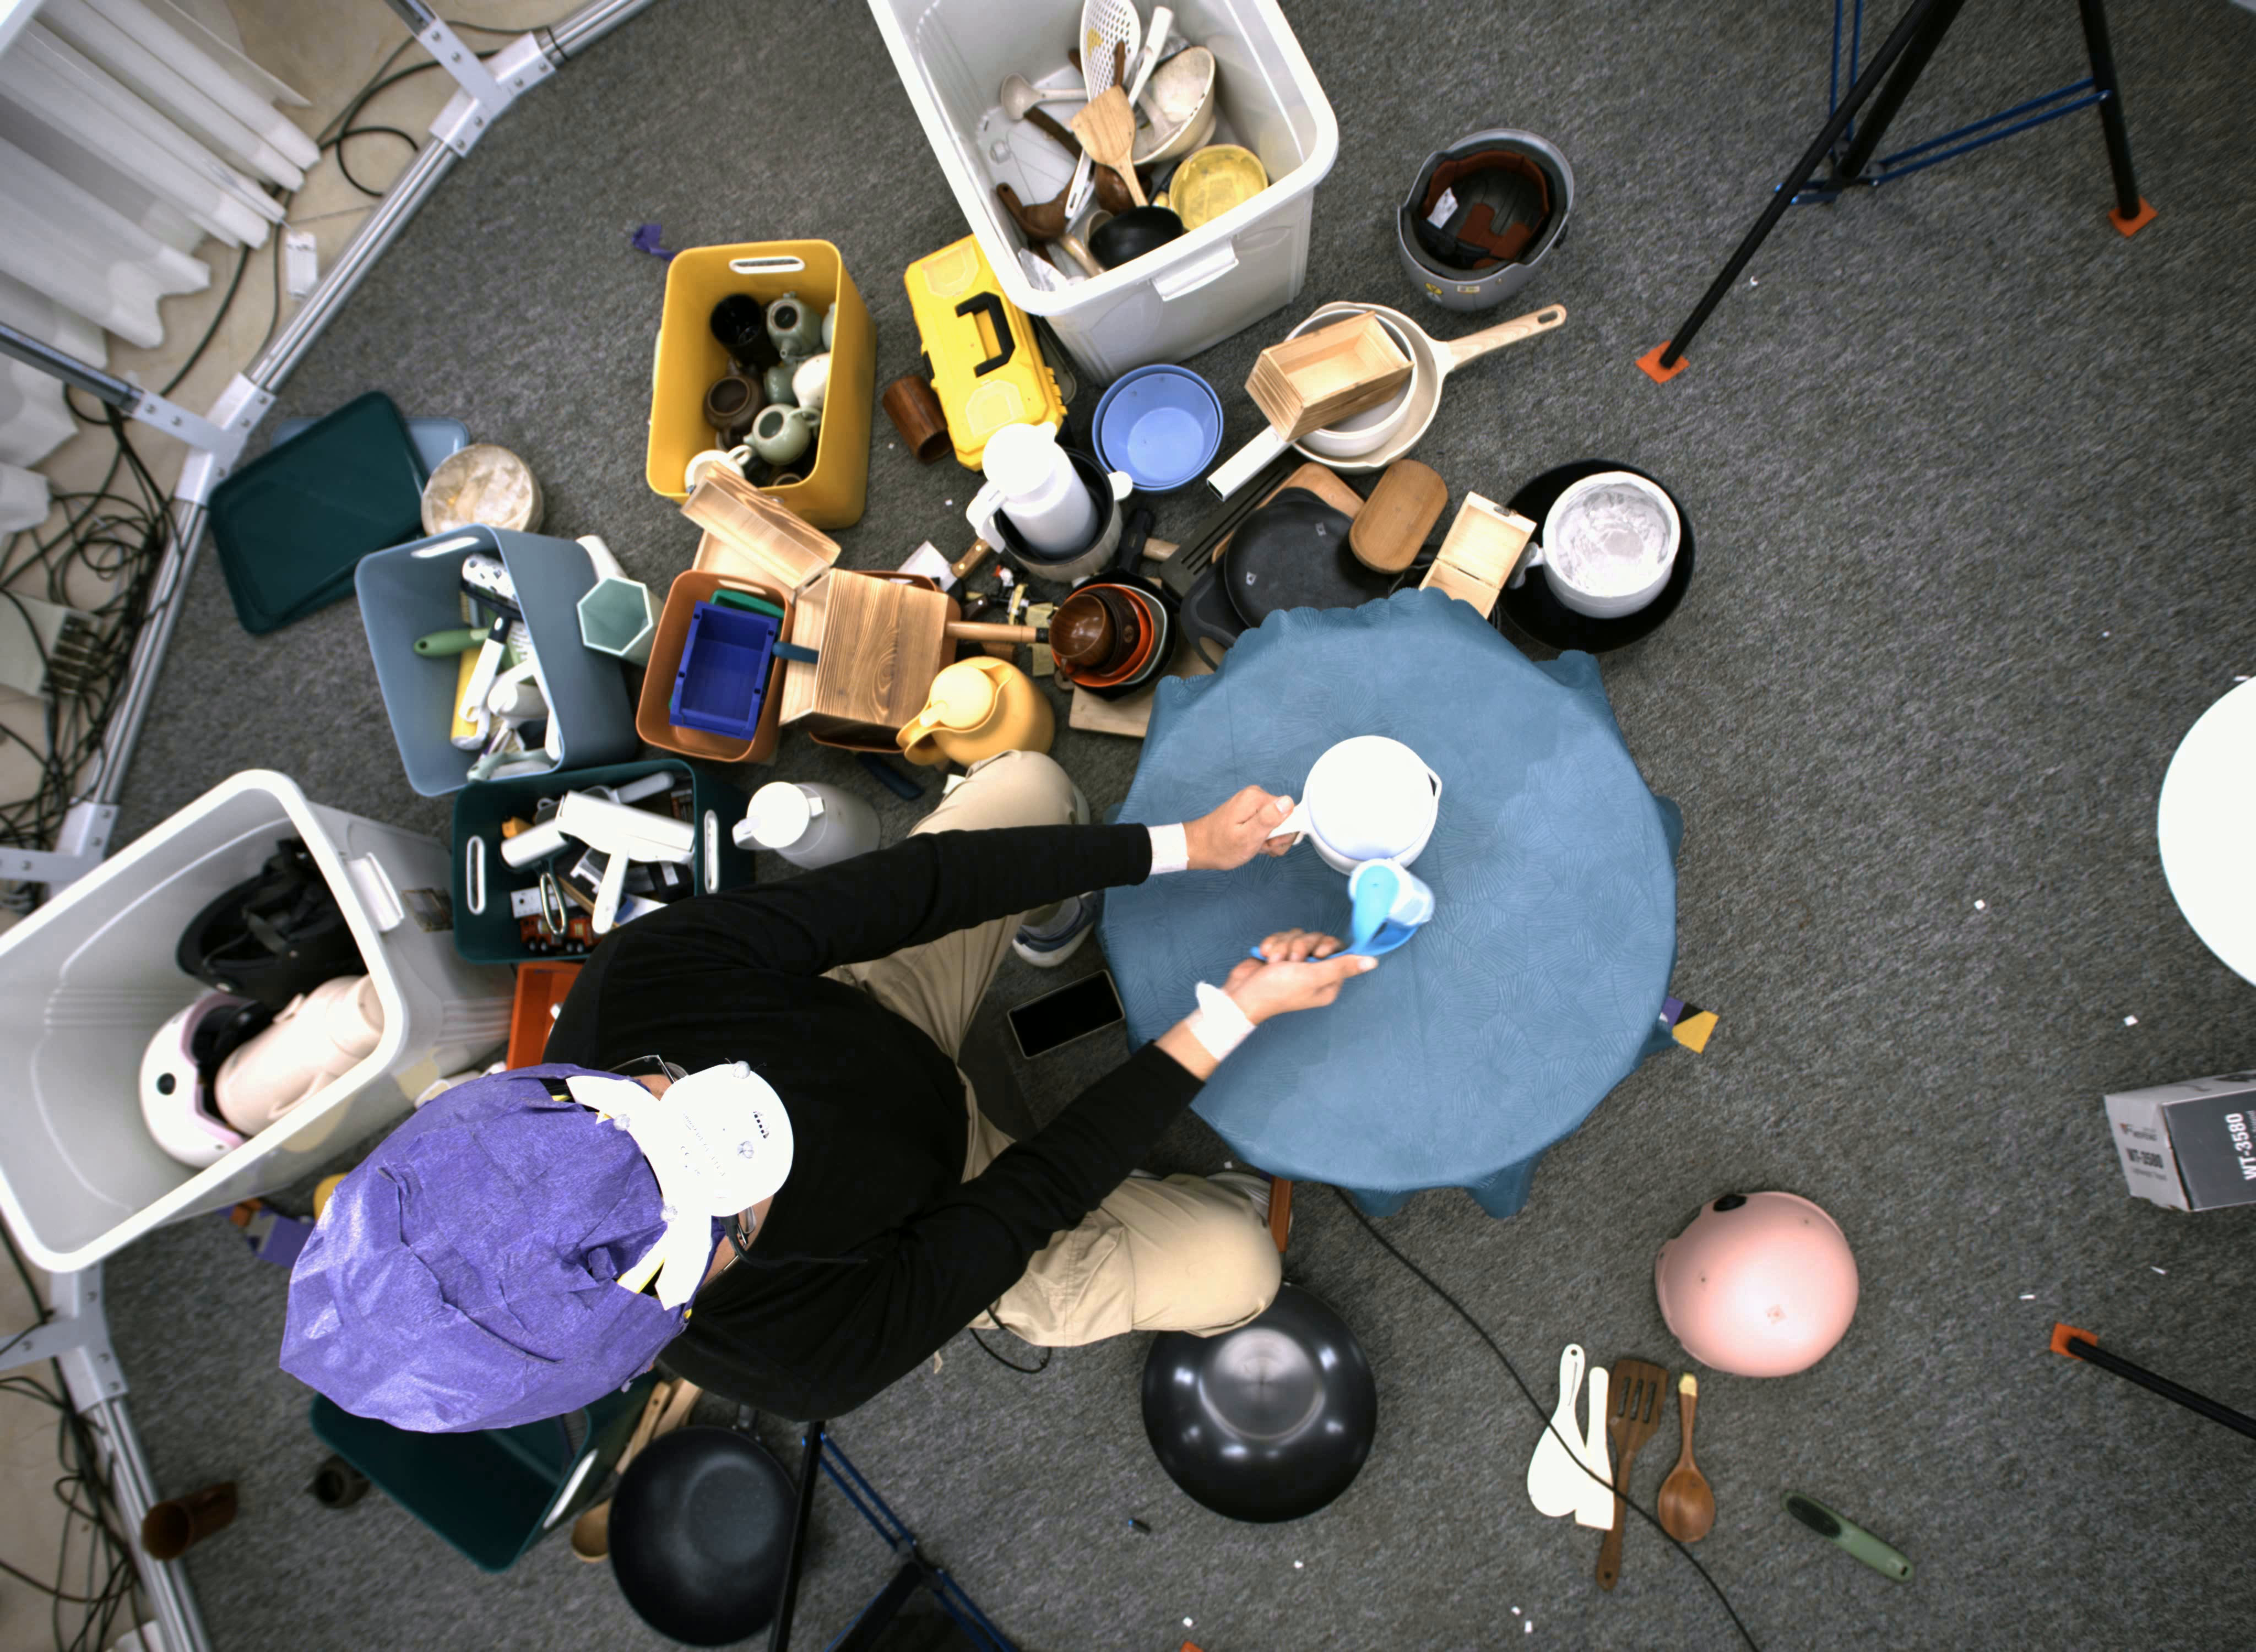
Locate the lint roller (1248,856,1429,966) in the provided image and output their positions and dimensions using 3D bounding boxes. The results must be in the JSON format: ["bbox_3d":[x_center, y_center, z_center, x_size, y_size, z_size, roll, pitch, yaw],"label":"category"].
[{"bbox_3d":[0.208,0.100,1.356,0.182,0.228,0.067,-36,75,15],"label":"lint roller"}]

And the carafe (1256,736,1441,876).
[{"bbox_3d":[0.219,-0.011,1.387,0.192,0.182,0.131,-15,82,11],"label":"carafe"}]
